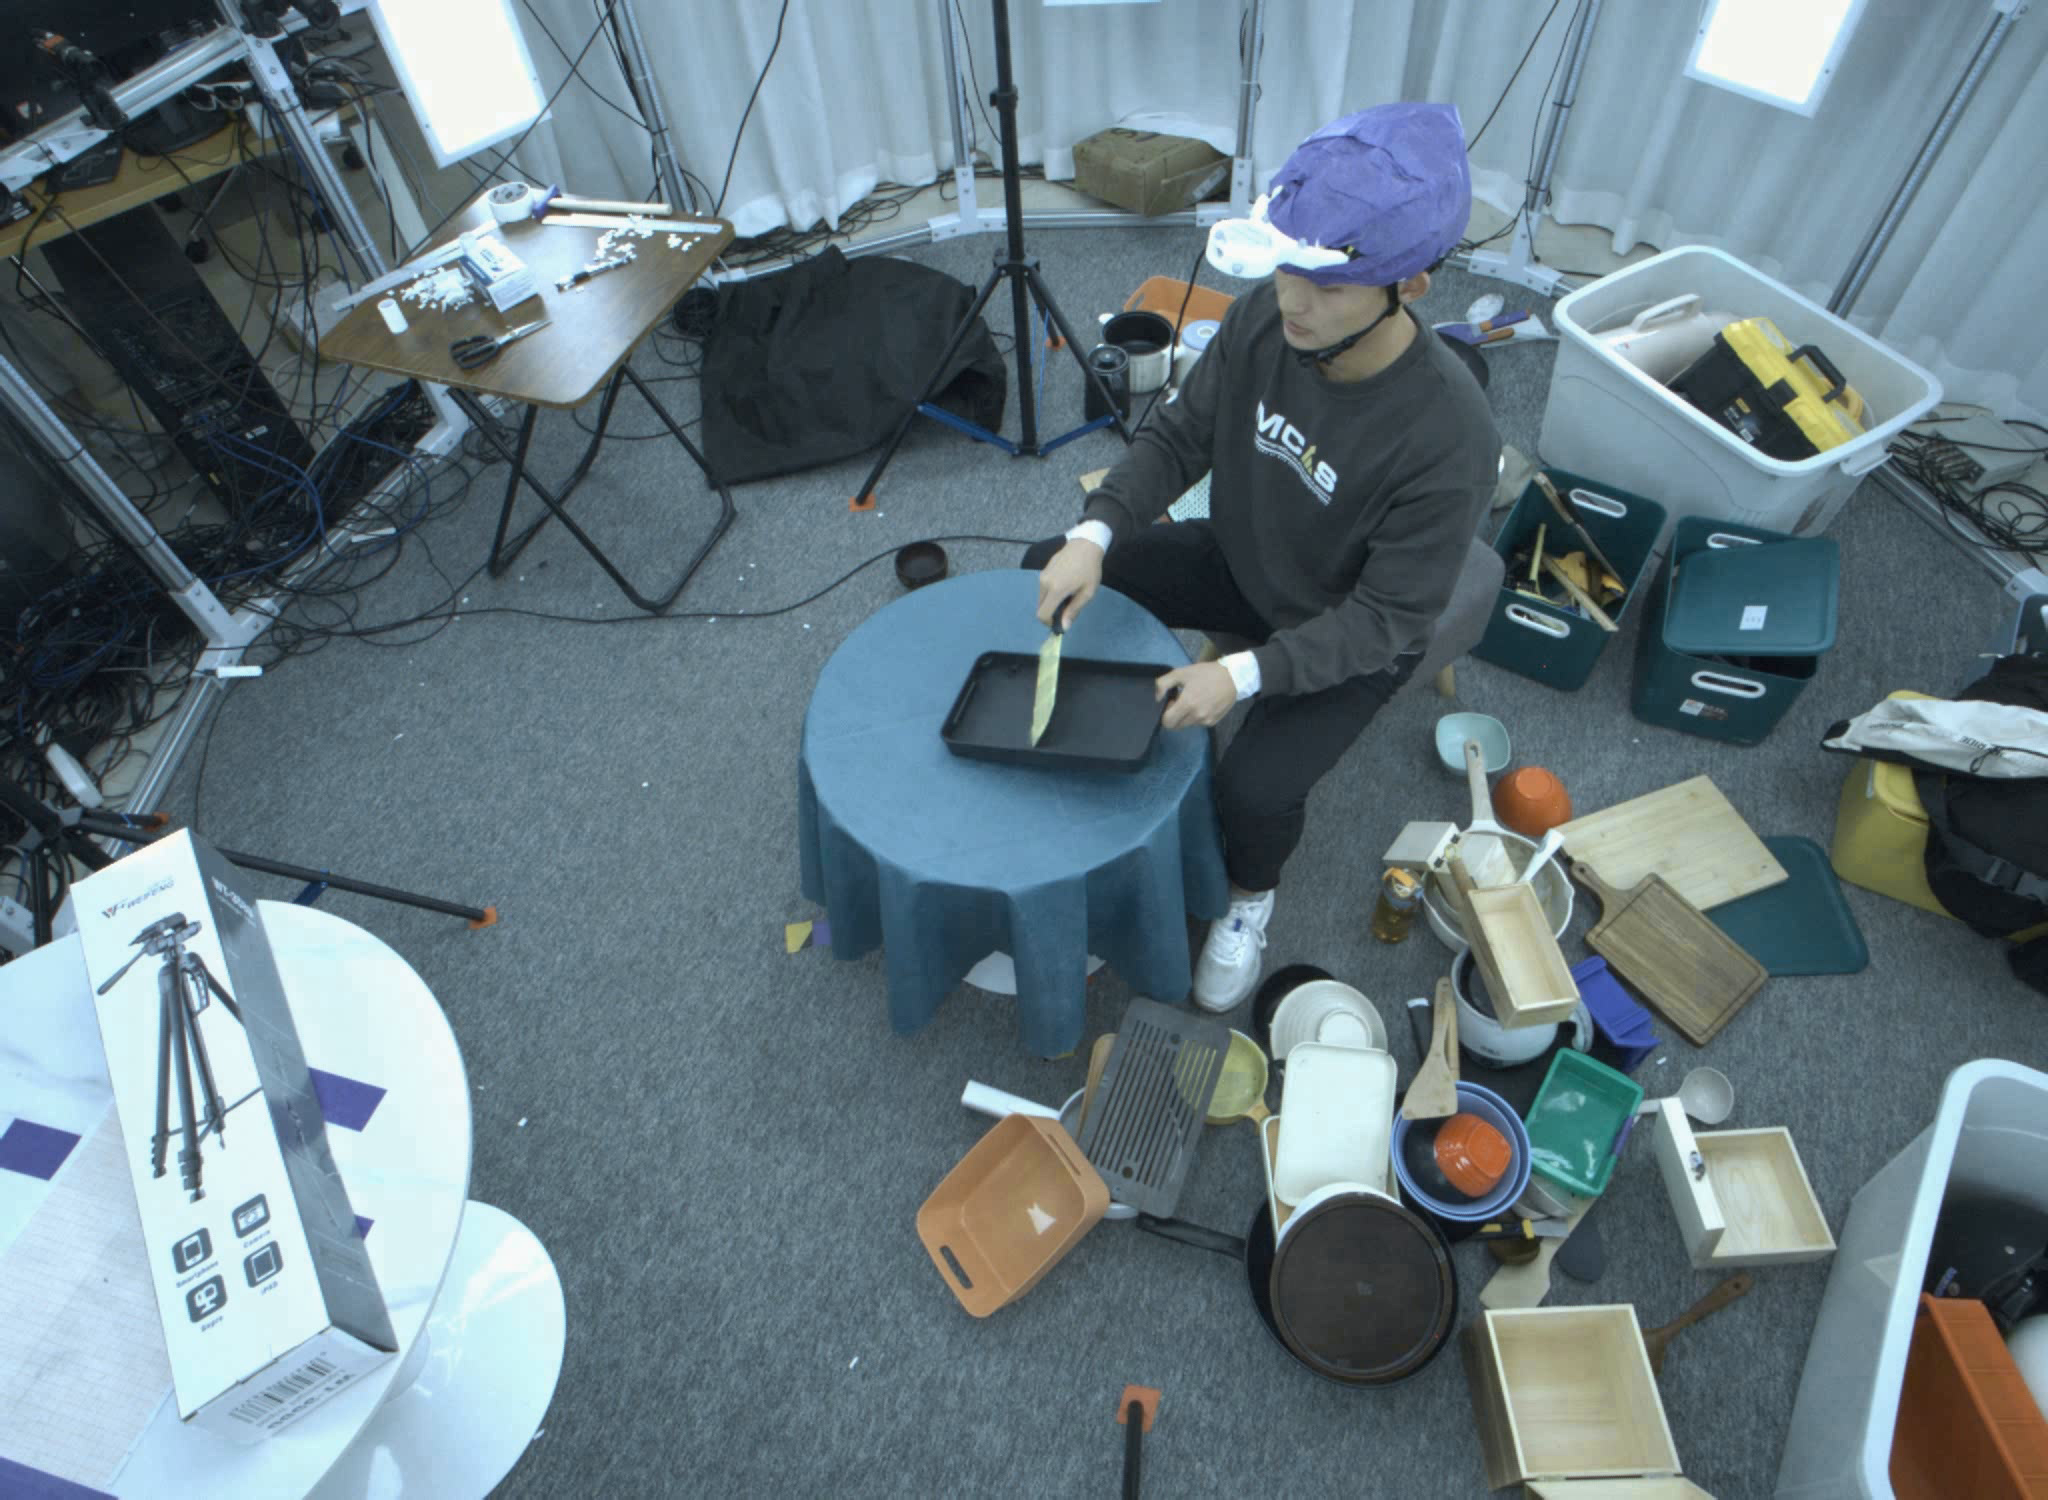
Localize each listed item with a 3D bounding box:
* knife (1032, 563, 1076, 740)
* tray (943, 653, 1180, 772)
[{"bbox_3d":[0.041,-0.145,1.794,0.028,0.080,0.288,20,65,-22],"label":"knife"},{"bbox_3d":[0.055,-0.057,1.769,0.313,0.037,0.184,5,50,23],"label":"tray"}]
